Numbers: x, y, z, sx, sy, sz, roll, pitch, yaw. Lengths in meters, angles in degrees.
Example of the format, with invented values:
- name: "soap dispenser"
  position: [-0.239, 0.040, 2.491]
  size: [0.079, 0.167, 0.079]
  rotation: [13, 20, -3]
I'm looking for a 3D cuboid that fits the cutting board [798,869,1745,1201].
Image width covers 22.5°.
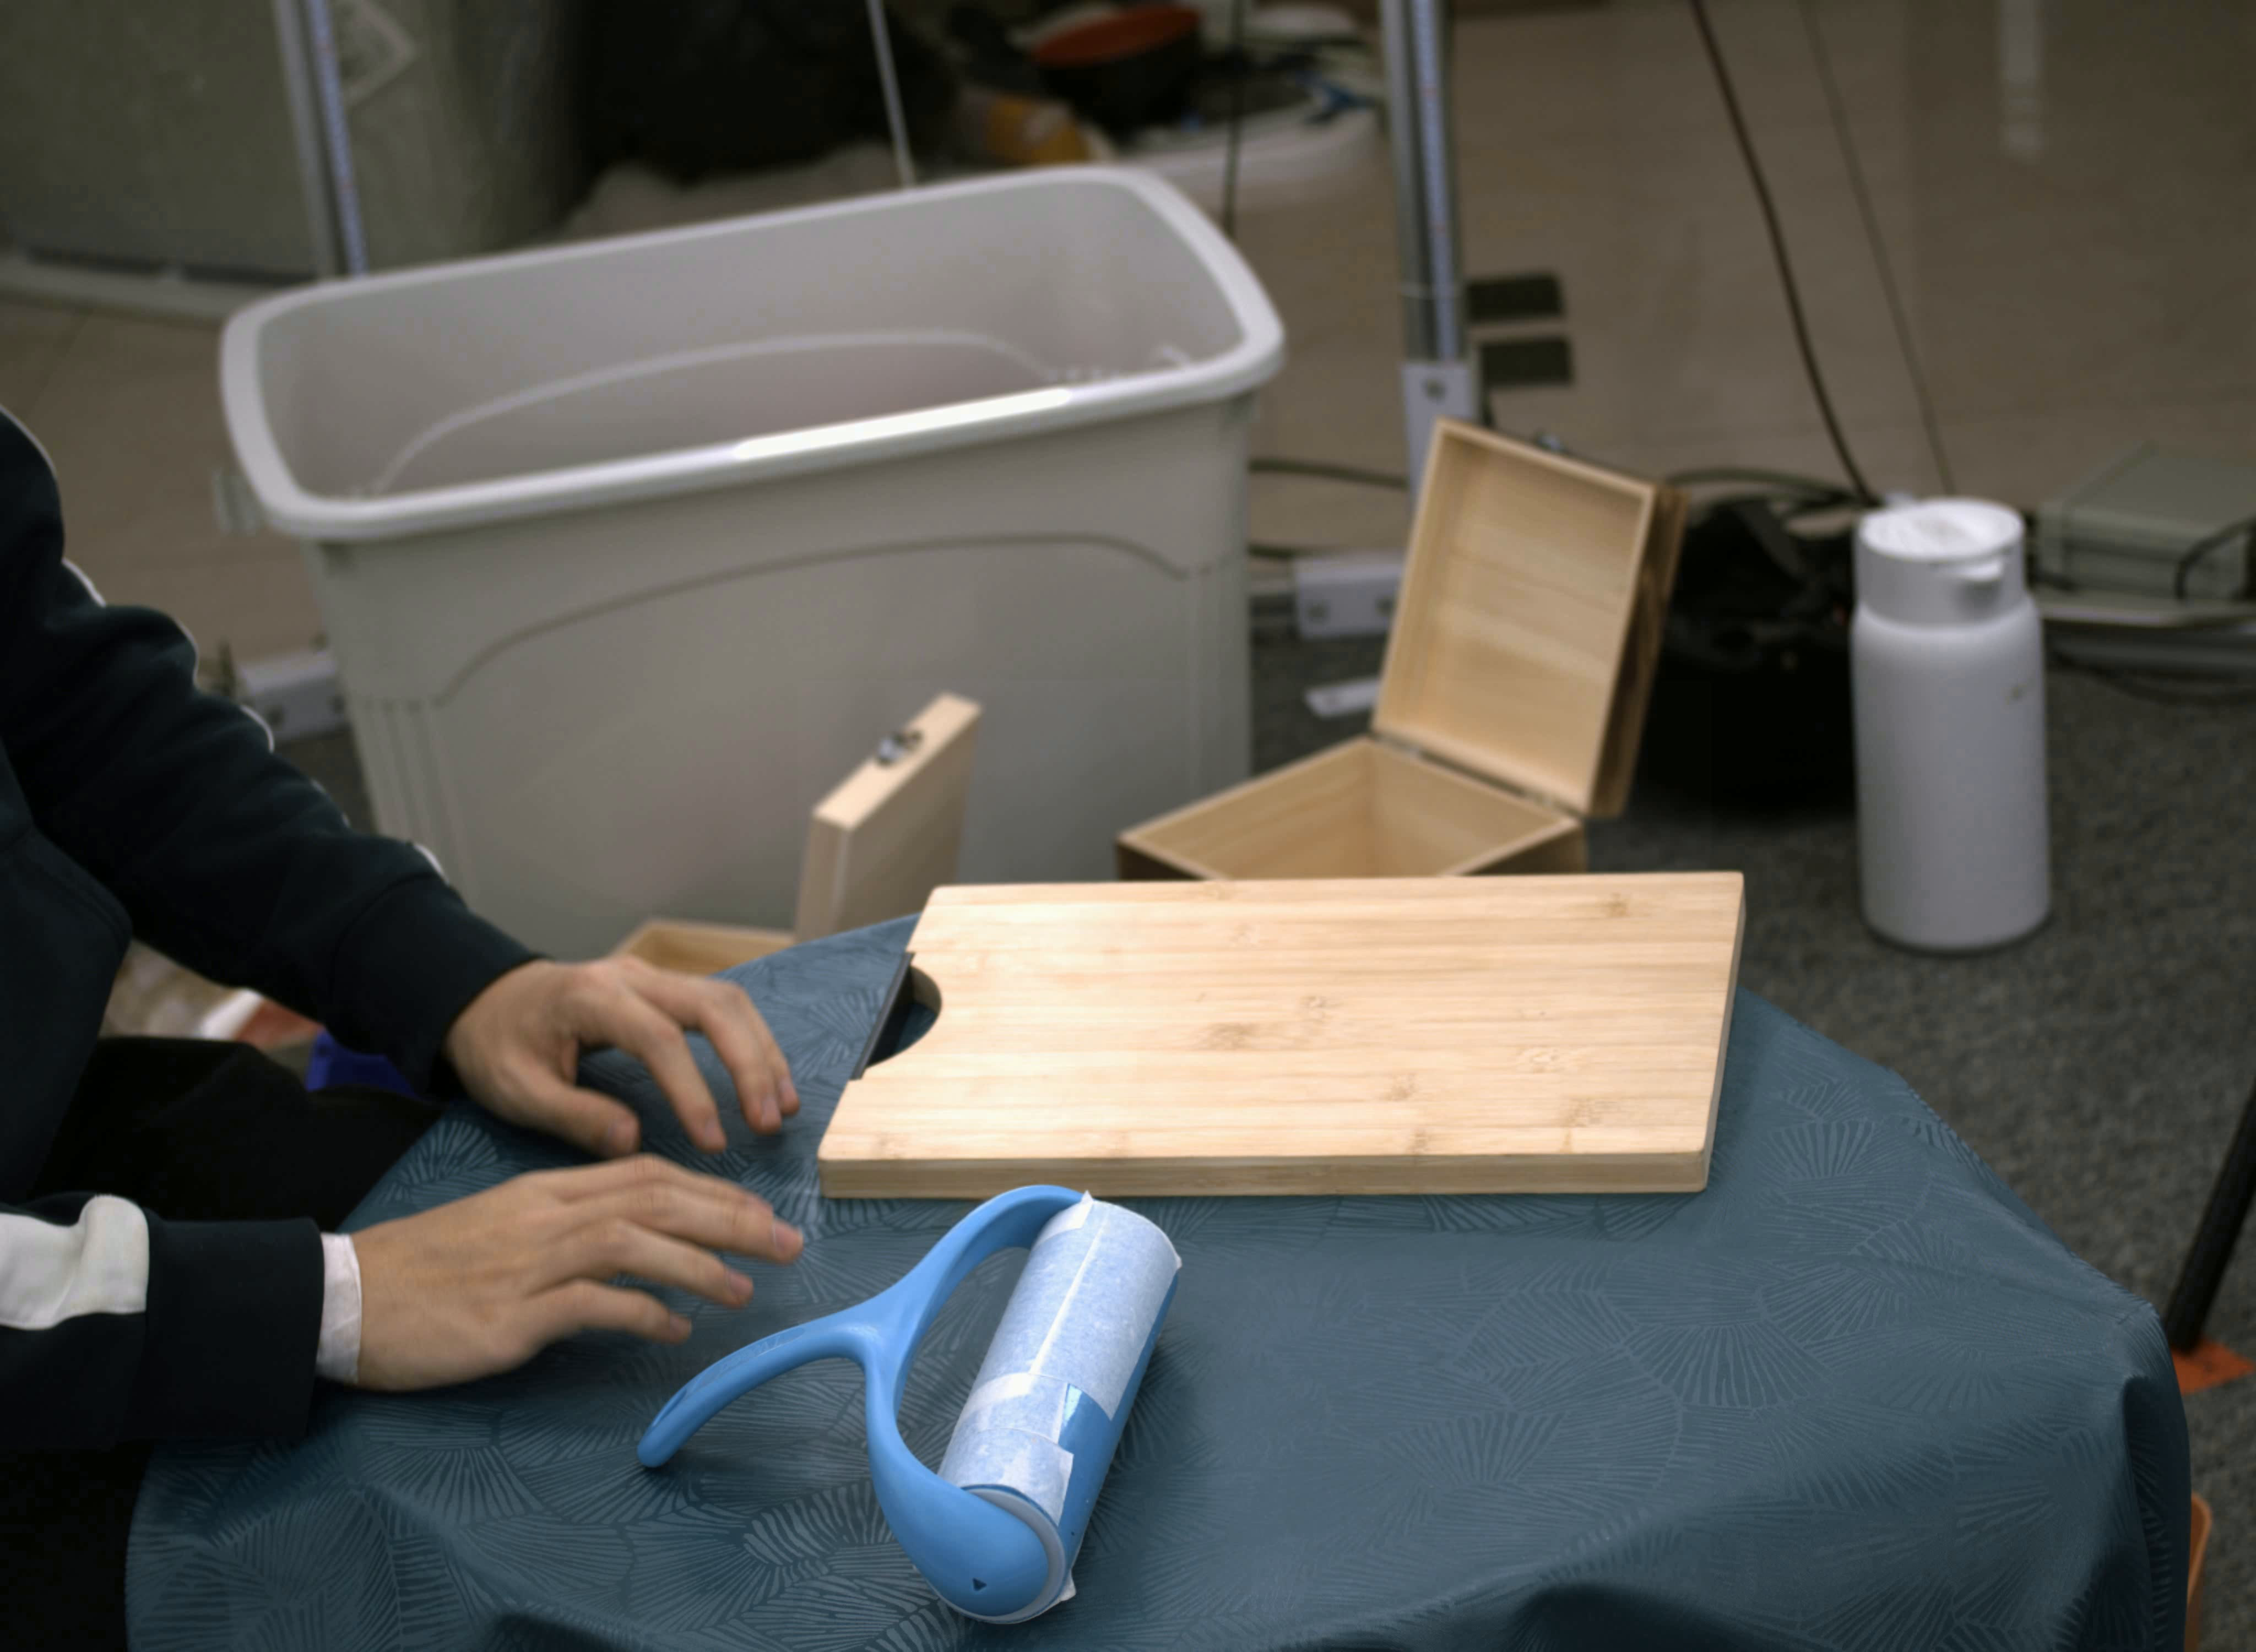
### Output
- name: "cutting board"
  position: [0.062, 0.081, 2.234]
  size: [0.348, 0.024, 0.247]
  rotation: [-2, 25, 10]

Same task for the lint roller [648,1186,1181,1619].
- name: "lint roller"
  position: [-0.083, 0.199, 1.968]
  size: [0.180, 0.069, 0.225]
  rotation: [-1, 27, 10]
